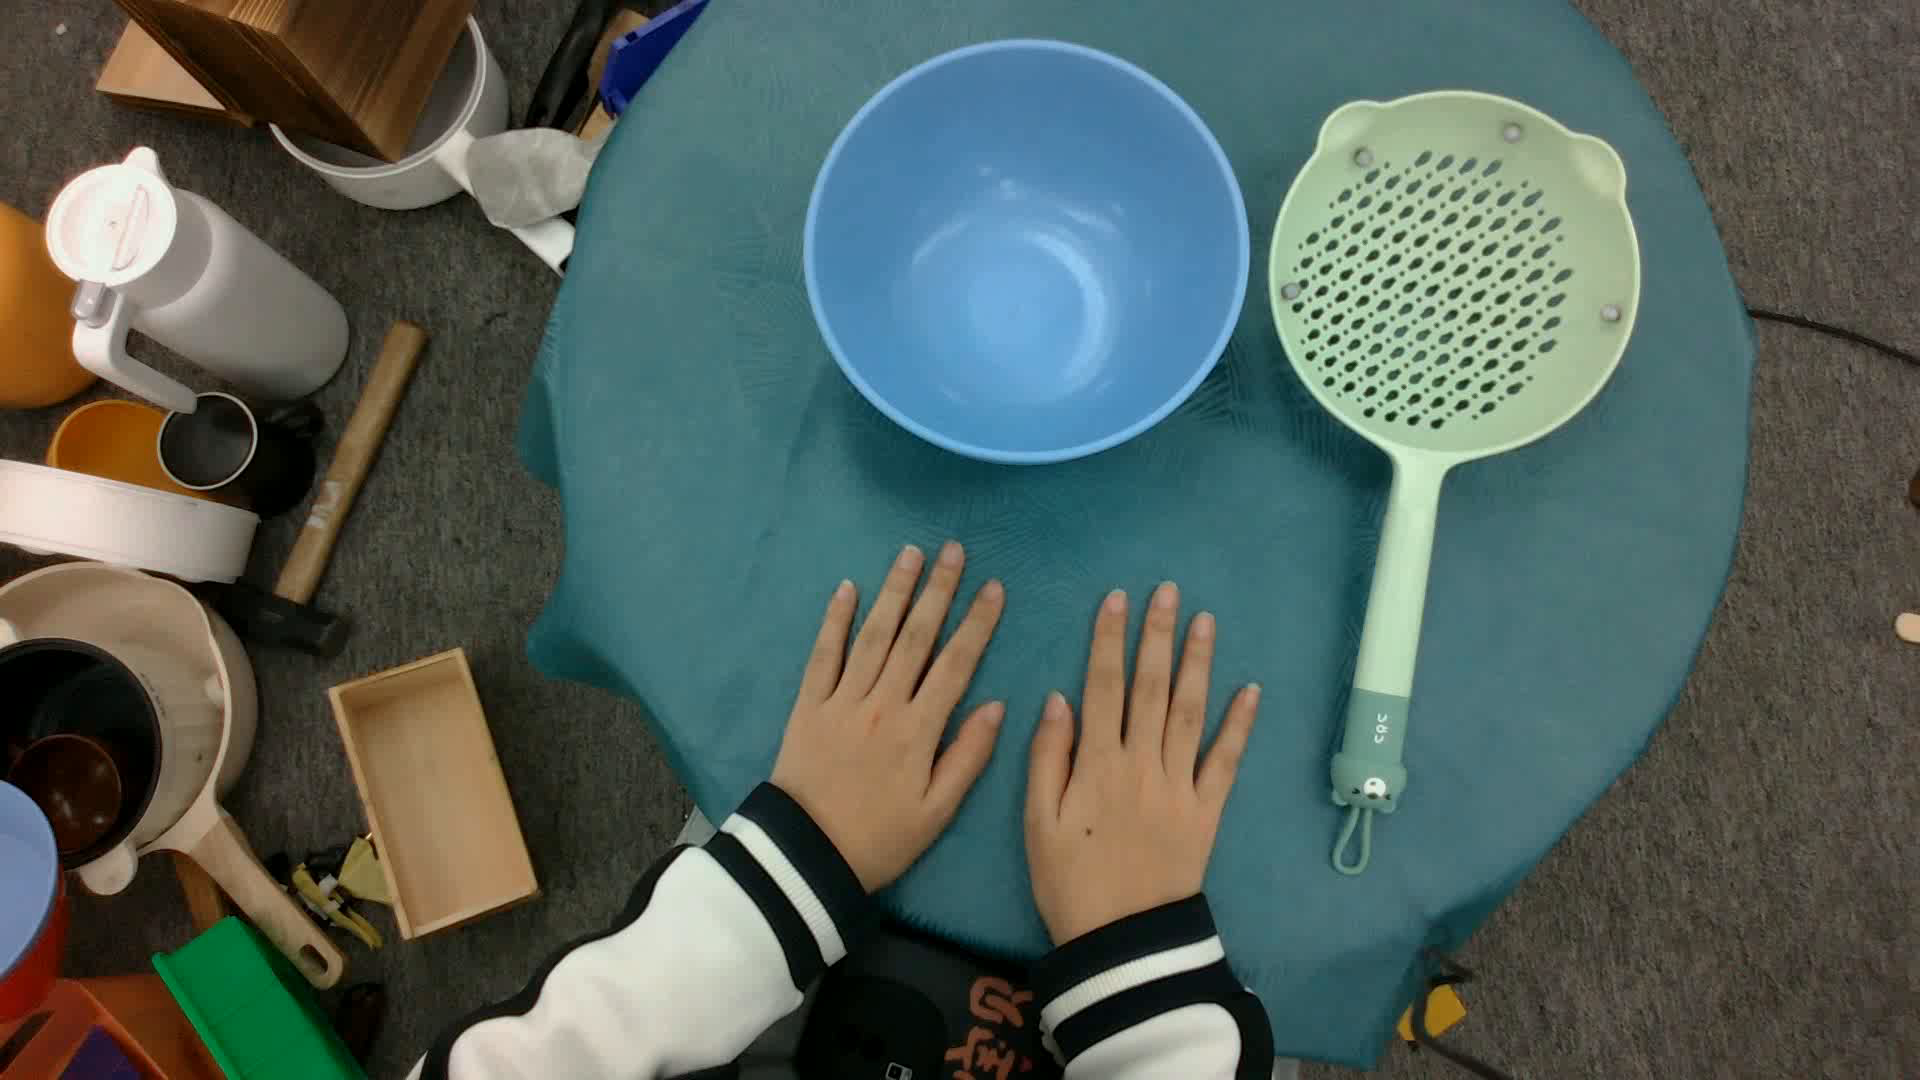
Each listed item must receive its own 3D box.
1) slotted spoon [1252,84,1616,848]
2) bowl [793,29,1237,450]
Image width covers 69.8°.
[{"bbox_3d":[0.205,-0.033,0.652,0.169,0.075,0.359,10,81,3],"label":"slotted spoon"},{"bbox_3d":[0.024,-0.127,0.650,0.196,0.095,0.197,0,79,-1],"label":"bowl"}]
